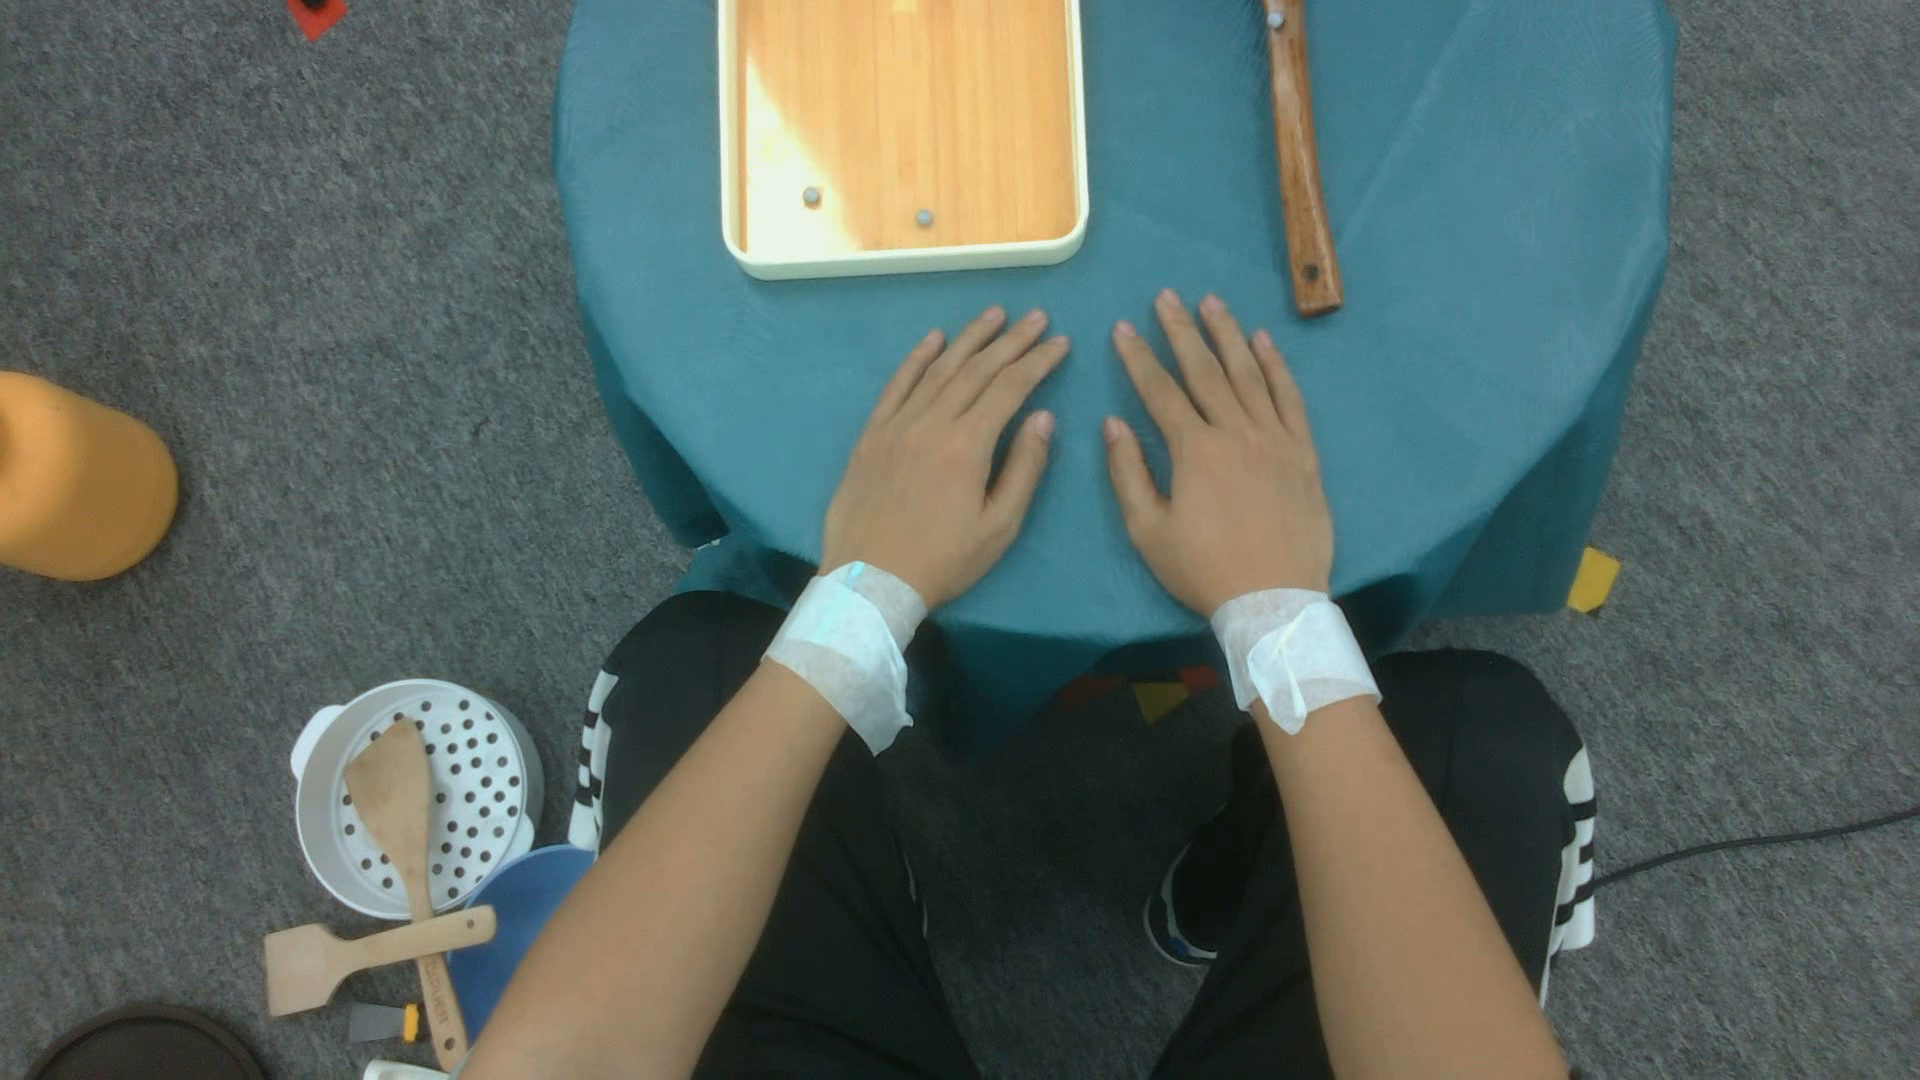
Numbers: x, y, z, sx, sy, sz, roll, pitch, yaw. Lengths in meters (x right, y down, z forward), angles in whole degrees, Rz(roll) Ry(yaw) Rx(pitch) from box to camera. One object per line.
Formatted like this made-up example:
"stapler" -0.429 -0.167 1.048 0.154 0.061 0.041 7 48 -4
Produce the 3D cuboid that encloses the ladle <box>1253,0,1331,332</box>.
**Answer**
"ladle" 0.159 -0.249 0.720 0.081 0.077 0.274 -12 75 41

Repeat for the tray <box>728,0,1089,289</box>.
"tray" -0.031 -0.287 0.762 0.191 0.027 0.301 -3 78 3
